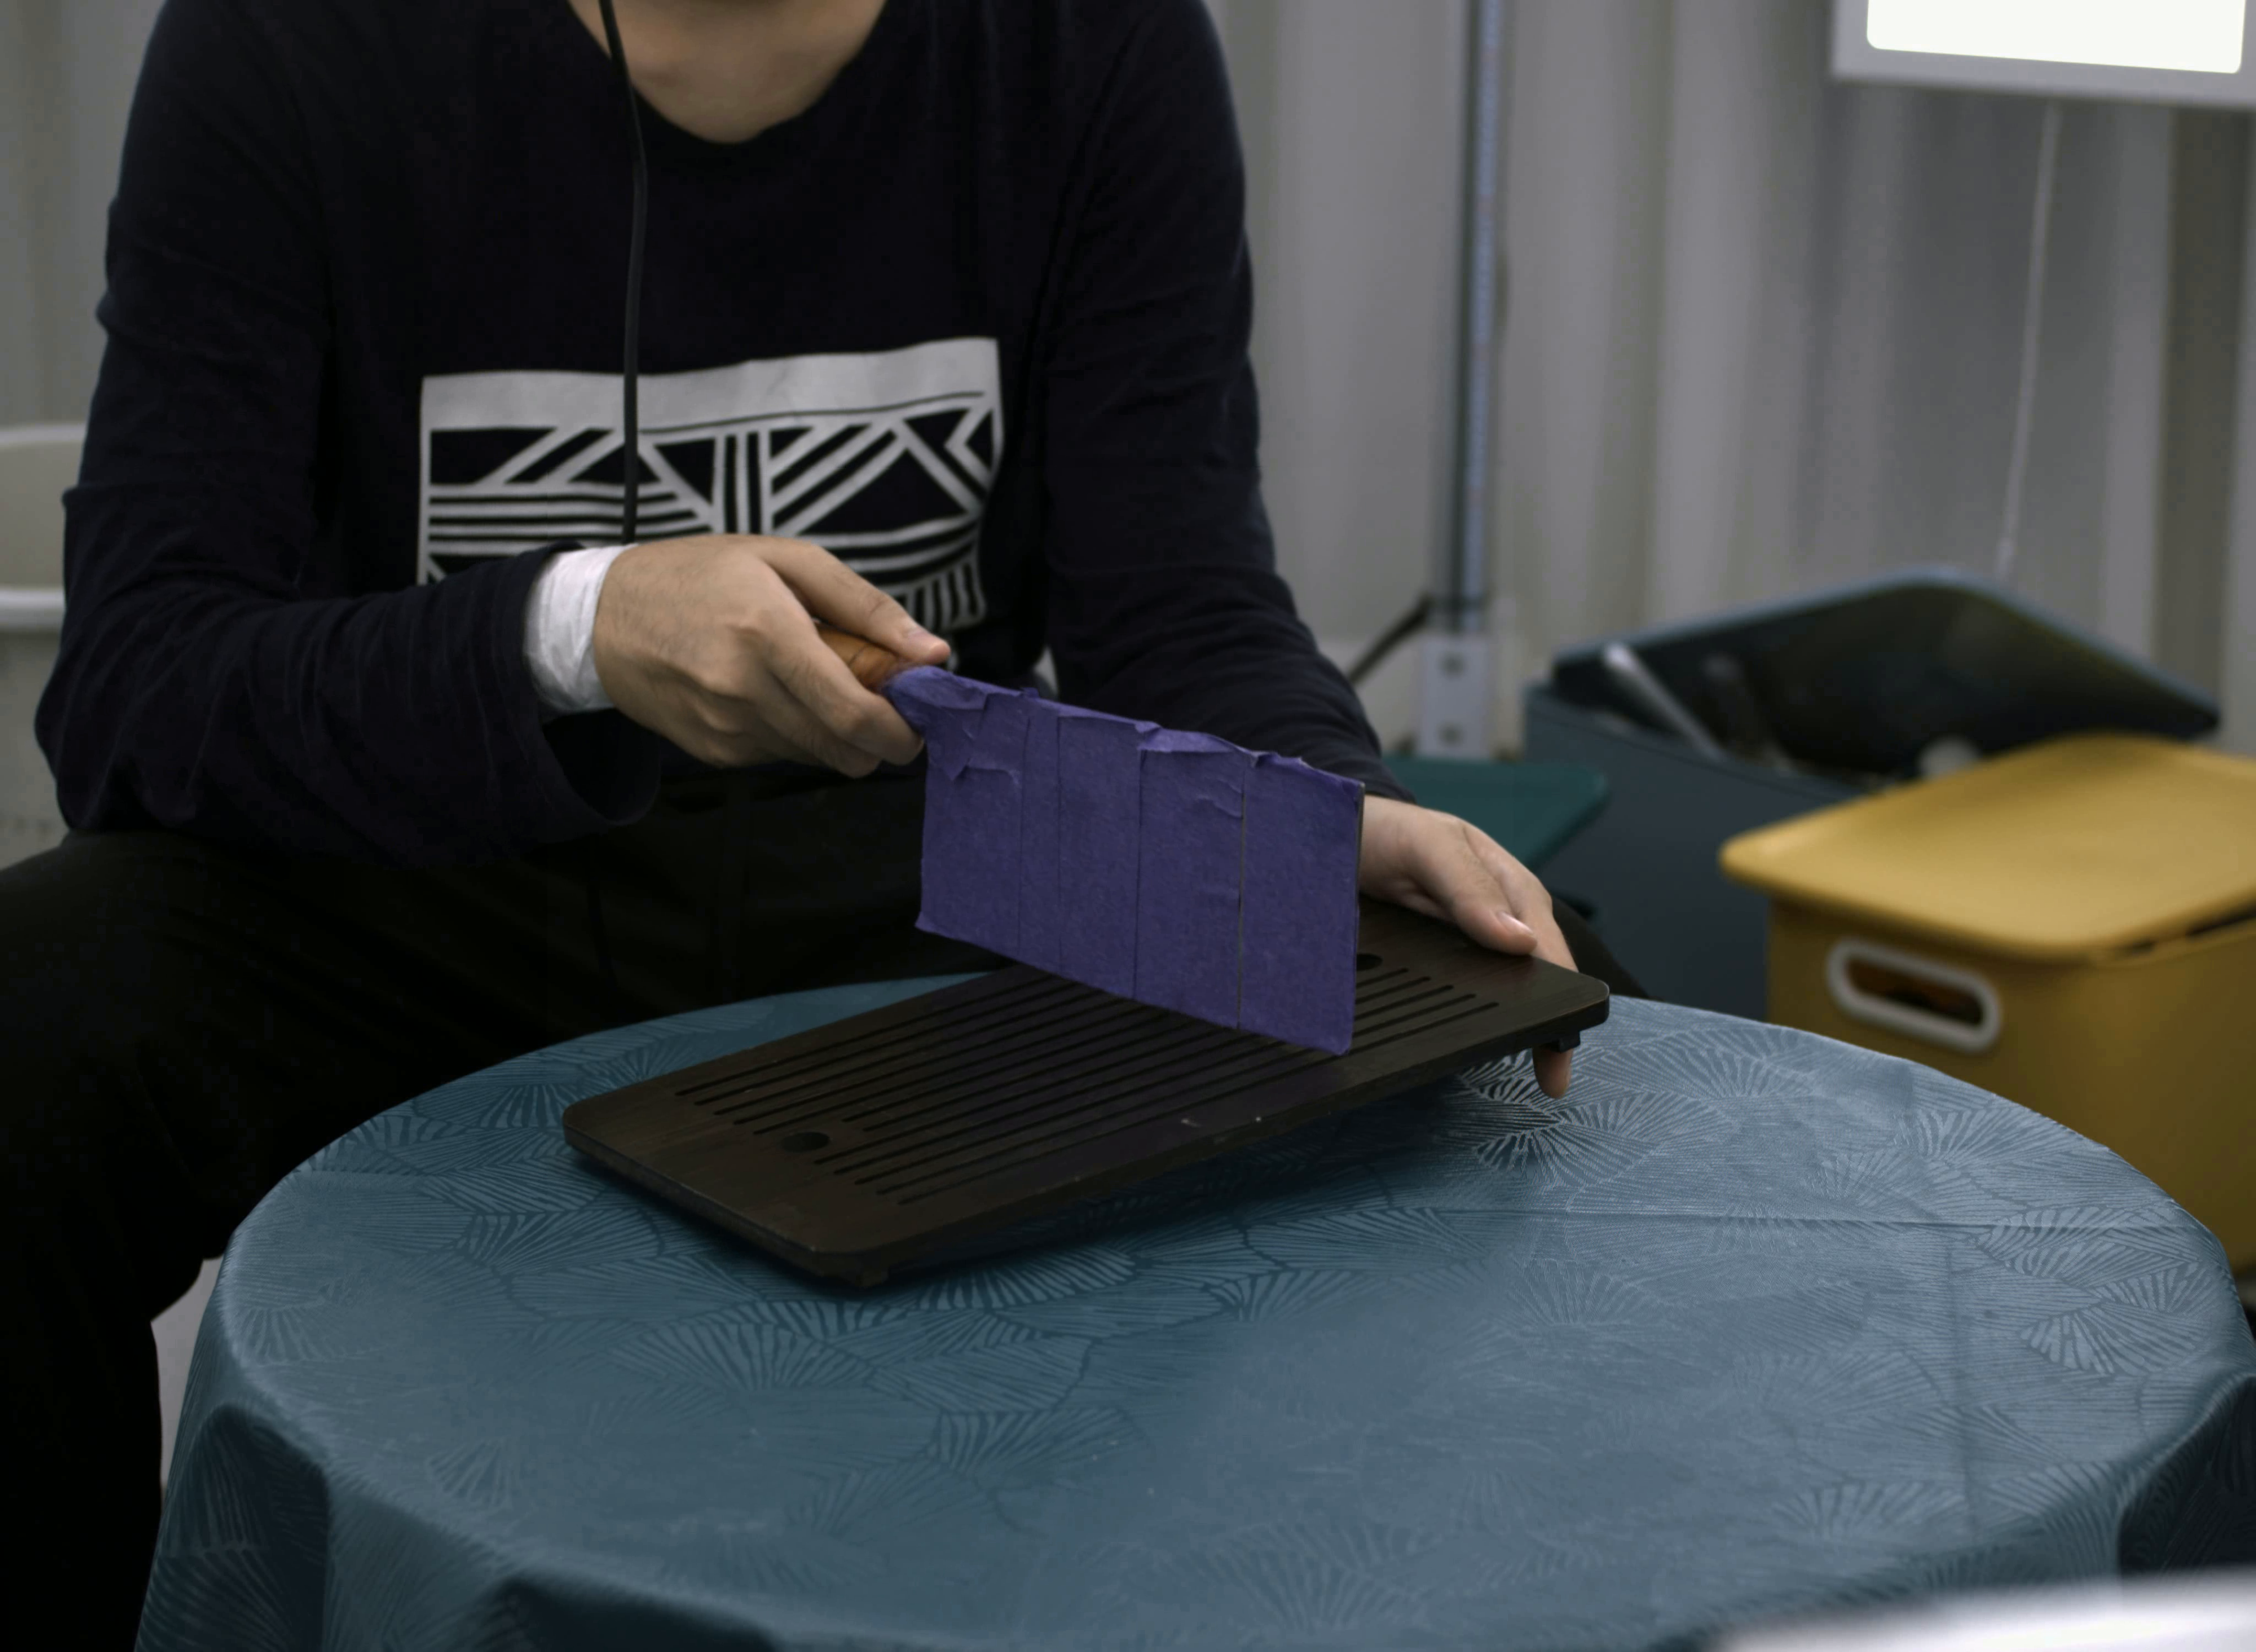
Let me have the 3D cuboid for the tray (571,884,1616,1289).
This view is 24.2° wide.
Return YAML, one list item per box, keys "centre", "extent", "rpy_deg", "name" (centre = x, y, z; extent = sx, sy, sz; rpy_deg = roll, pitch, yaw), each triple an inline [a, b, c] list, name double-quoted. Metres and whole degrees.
- centre: [-0.008, 0.079, 1.663]
  extent: [0.307, 0.019, 0.168]
  rpy_deg: [-16, 21, -33]
  name: "tray"

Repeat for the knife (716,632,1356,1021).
- centre: [-0.035, 0.000, 1.729]
  extent: [0.032, 0.104, 0.311]
  rpy_deg: [-7, 14, -39]
  name: "knife"
